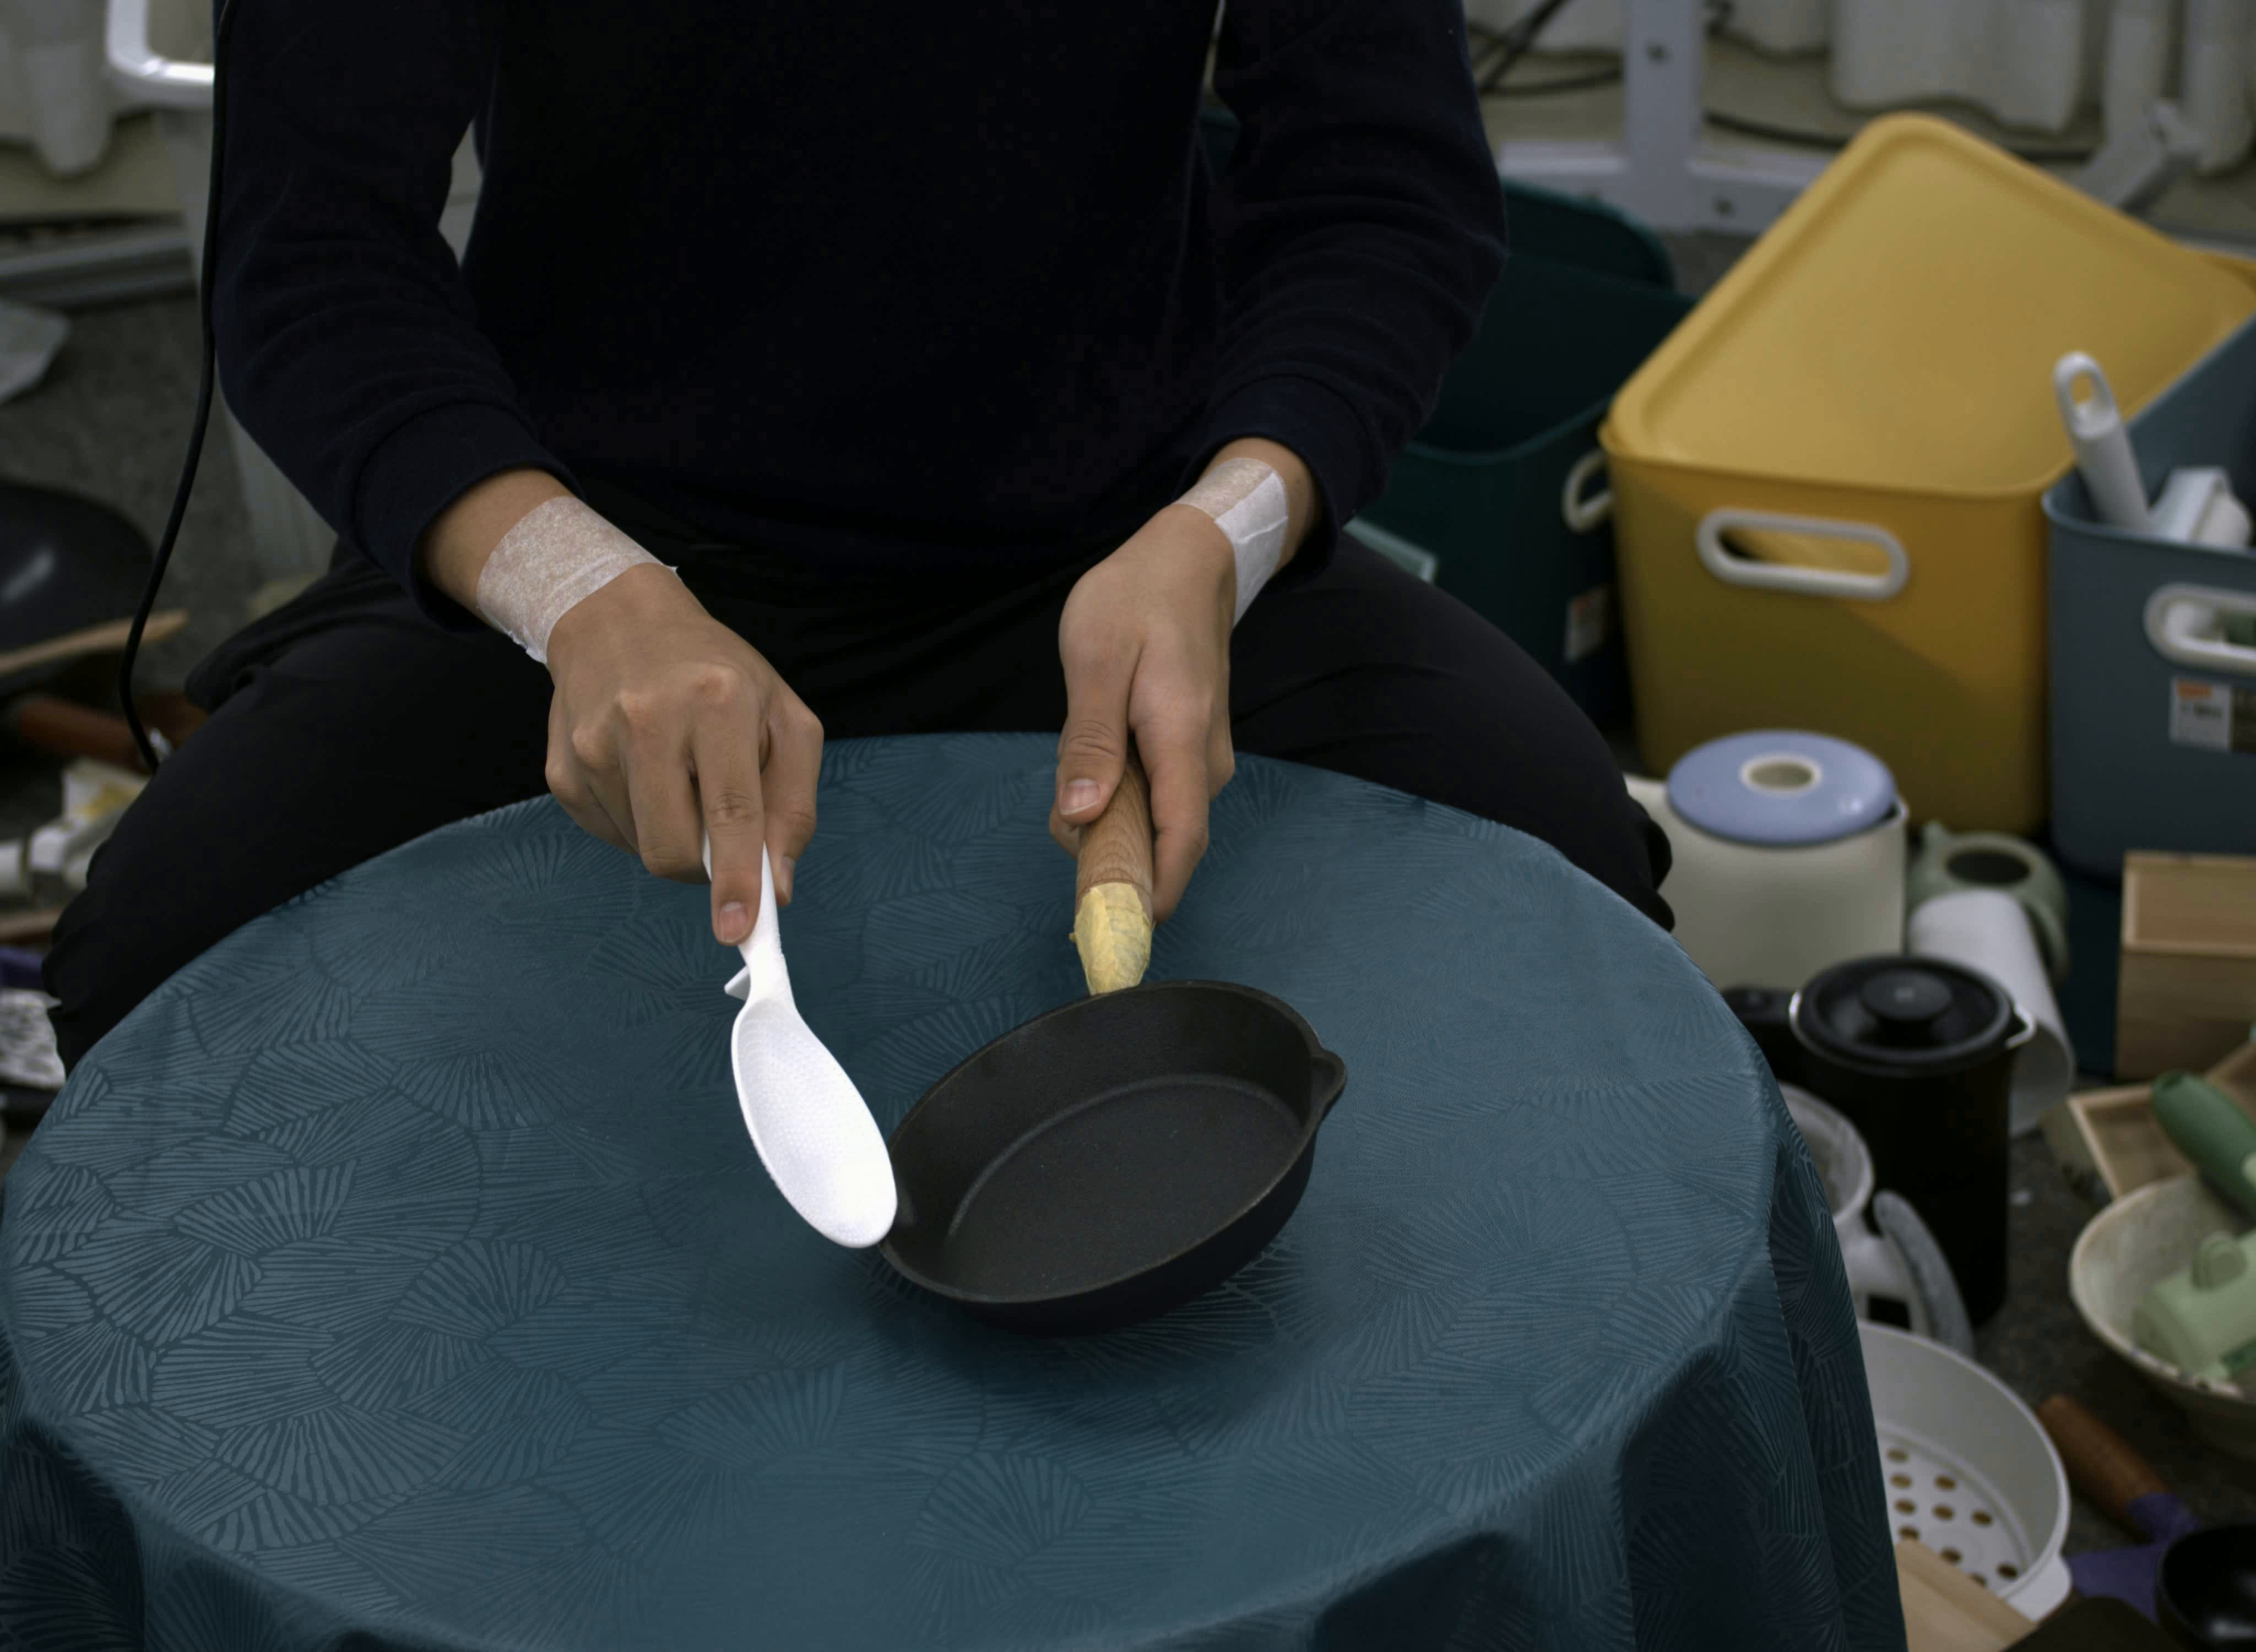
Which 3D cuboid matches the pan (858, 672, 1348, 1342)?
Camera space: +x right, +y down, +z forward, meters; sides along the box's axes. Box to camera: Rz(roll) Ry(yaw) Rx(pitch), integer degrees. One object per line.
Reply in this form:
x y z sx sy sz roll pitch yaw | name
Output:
-0.002 0.057 1.878 0.167 0.049 0.330 -14 33 13 | pan

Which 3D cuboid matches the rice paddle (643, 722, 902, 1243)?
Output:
-0.117 0.052 1.838 0.068 0.029 0.208 23 35 -44 | rice paddle
